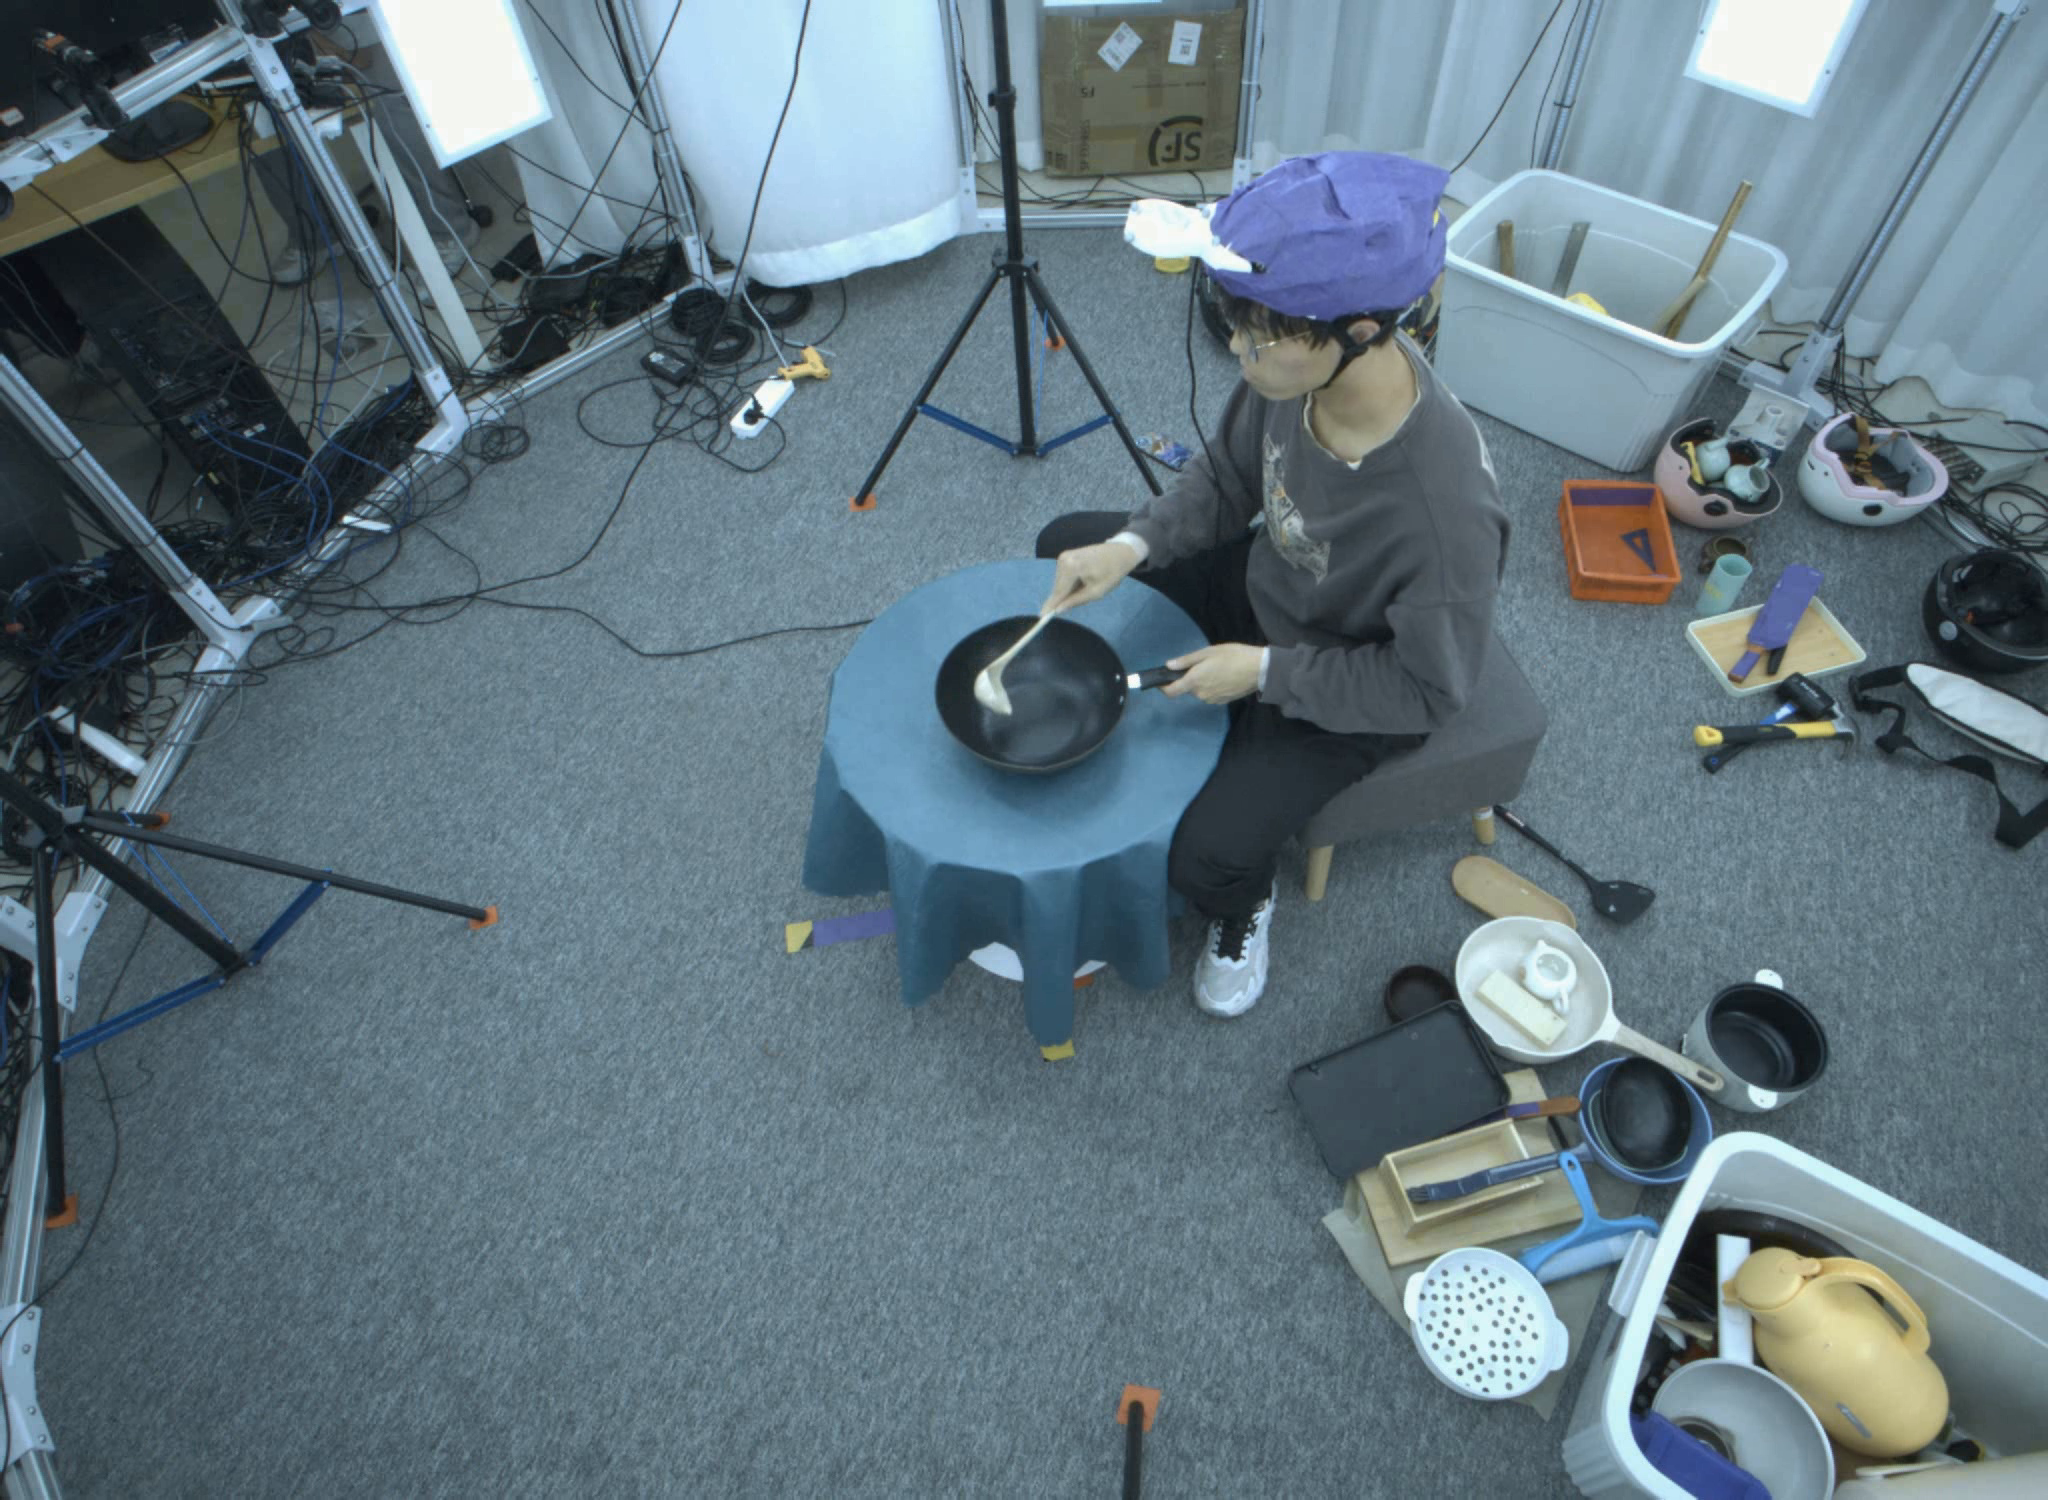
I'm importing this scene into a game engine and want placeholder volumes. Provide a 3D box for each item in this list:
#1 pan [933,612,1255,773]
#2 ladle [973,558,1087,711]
[{"bbox_3d":[0.101,-0.078,1.788,0.465,0.087,0.284,-5,54,-5],"label":"pan"},{"bbox_3d":[0.025,-0.164,1.750,0.254,0.074,0.071,-49,47,-1],"label":"ladle"}]
